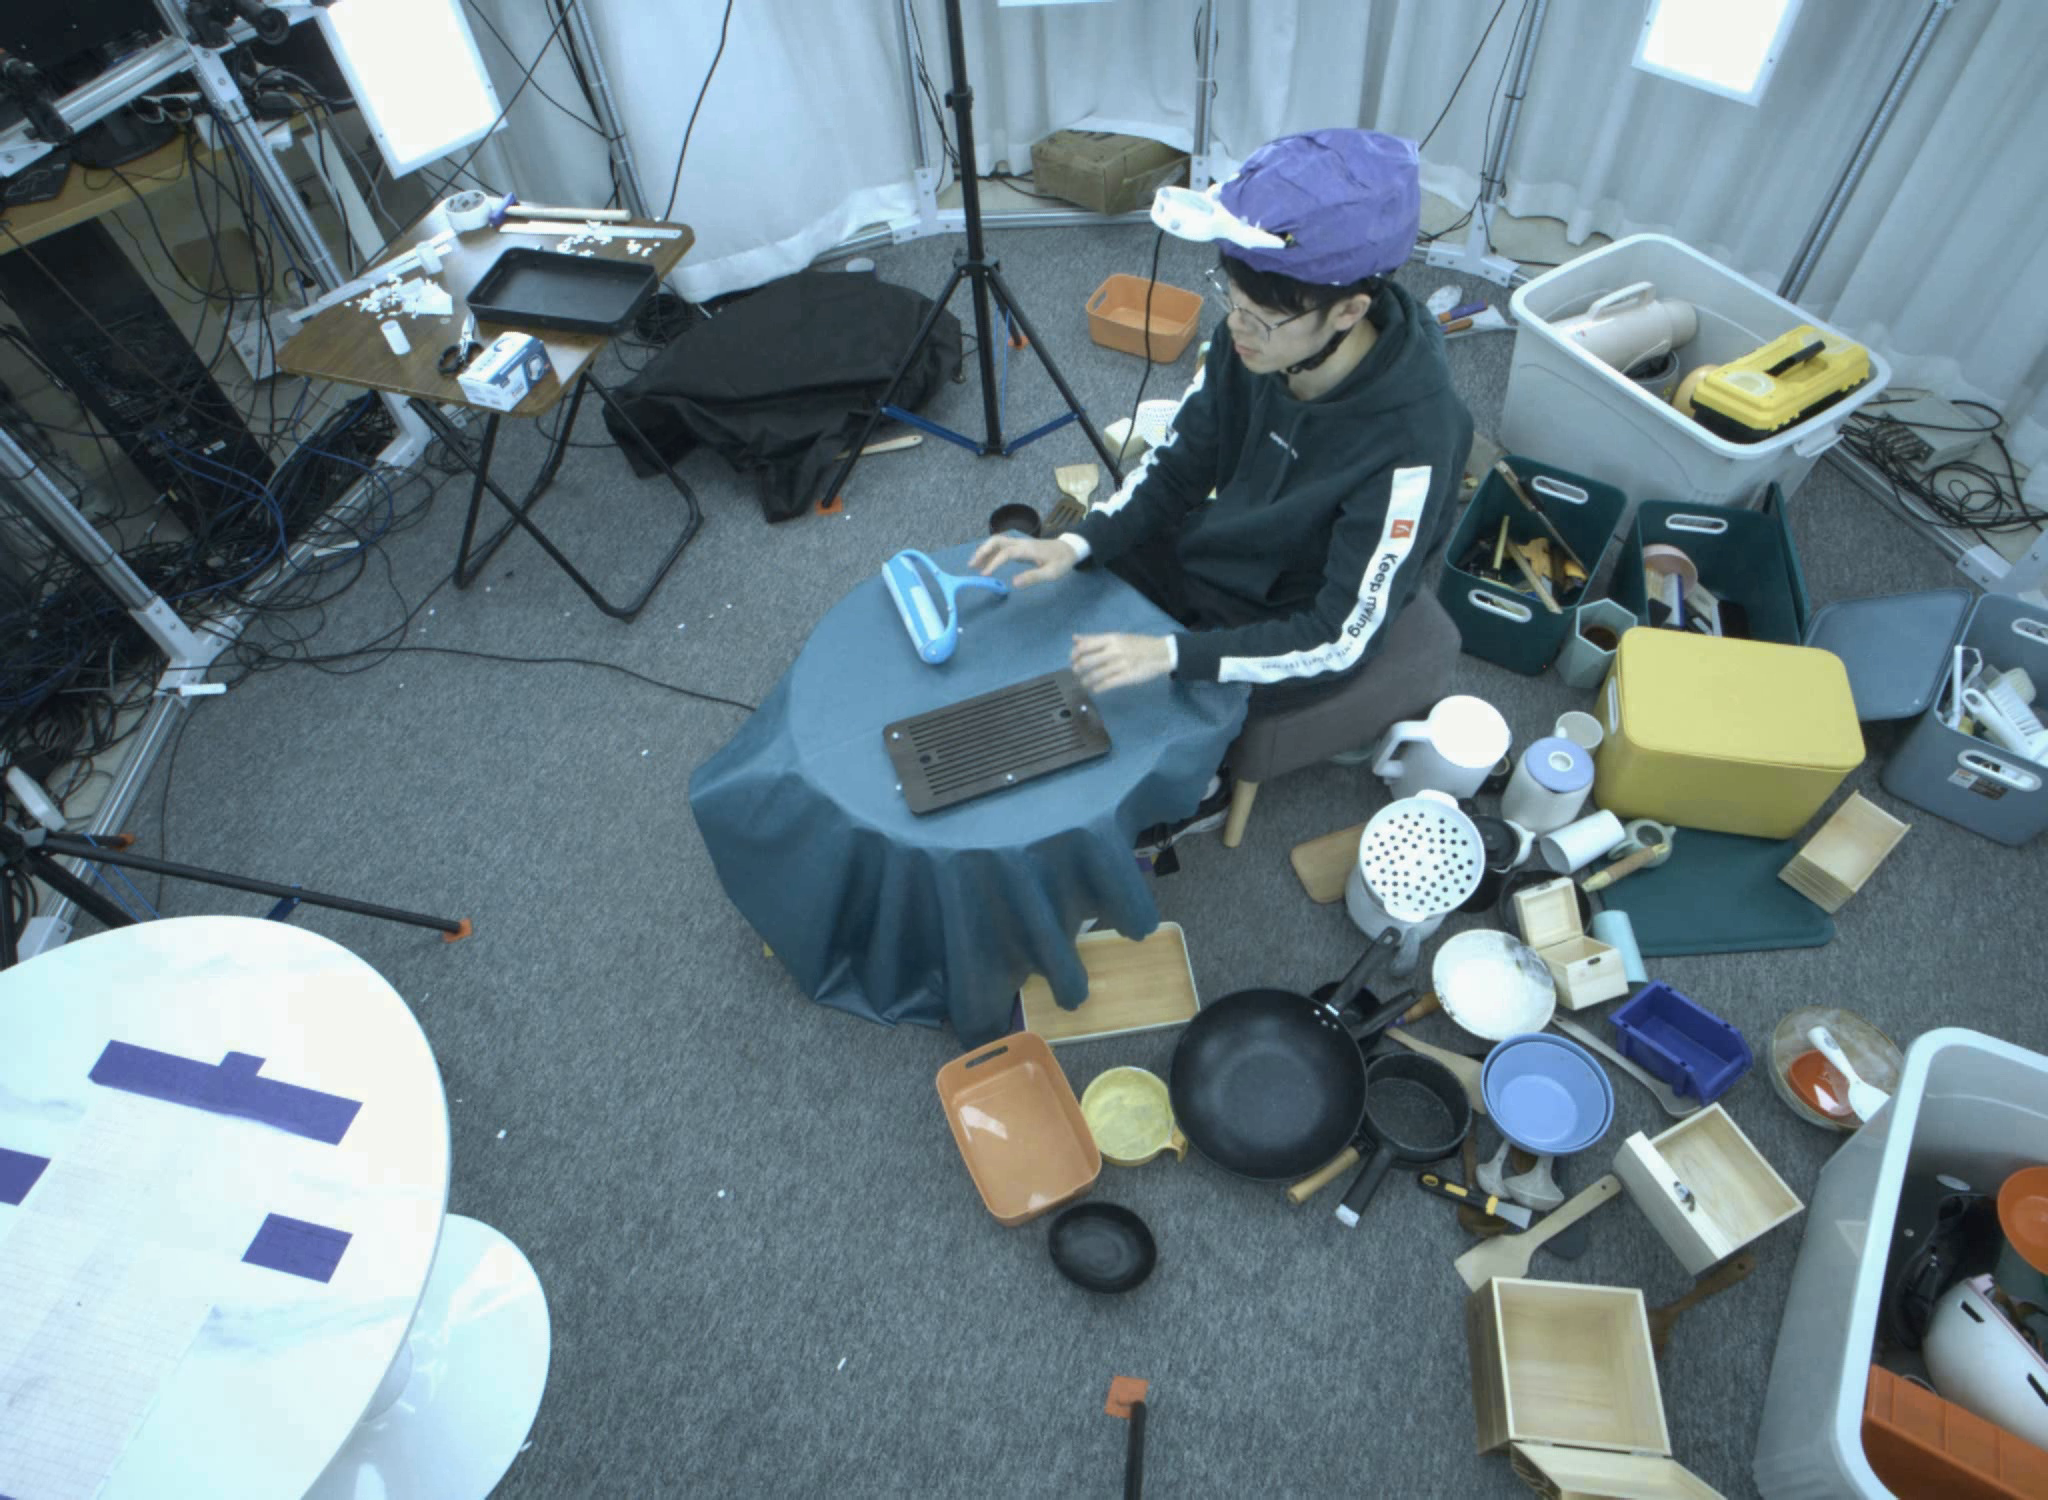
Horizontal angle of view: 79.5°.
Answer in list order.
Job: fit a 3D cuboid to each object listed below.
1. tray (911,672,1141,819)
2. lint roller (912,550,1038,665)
[{"bbox_3d":[0.001,-0.008,1.777,0.308,0.019,0.167,-17,56,-10],"label":"tray"},{"bbox_3d":[-0.066,-0.242,1.921,0.181,0.069,0.224,-21,55,-10],"label":"lint roller"}]
